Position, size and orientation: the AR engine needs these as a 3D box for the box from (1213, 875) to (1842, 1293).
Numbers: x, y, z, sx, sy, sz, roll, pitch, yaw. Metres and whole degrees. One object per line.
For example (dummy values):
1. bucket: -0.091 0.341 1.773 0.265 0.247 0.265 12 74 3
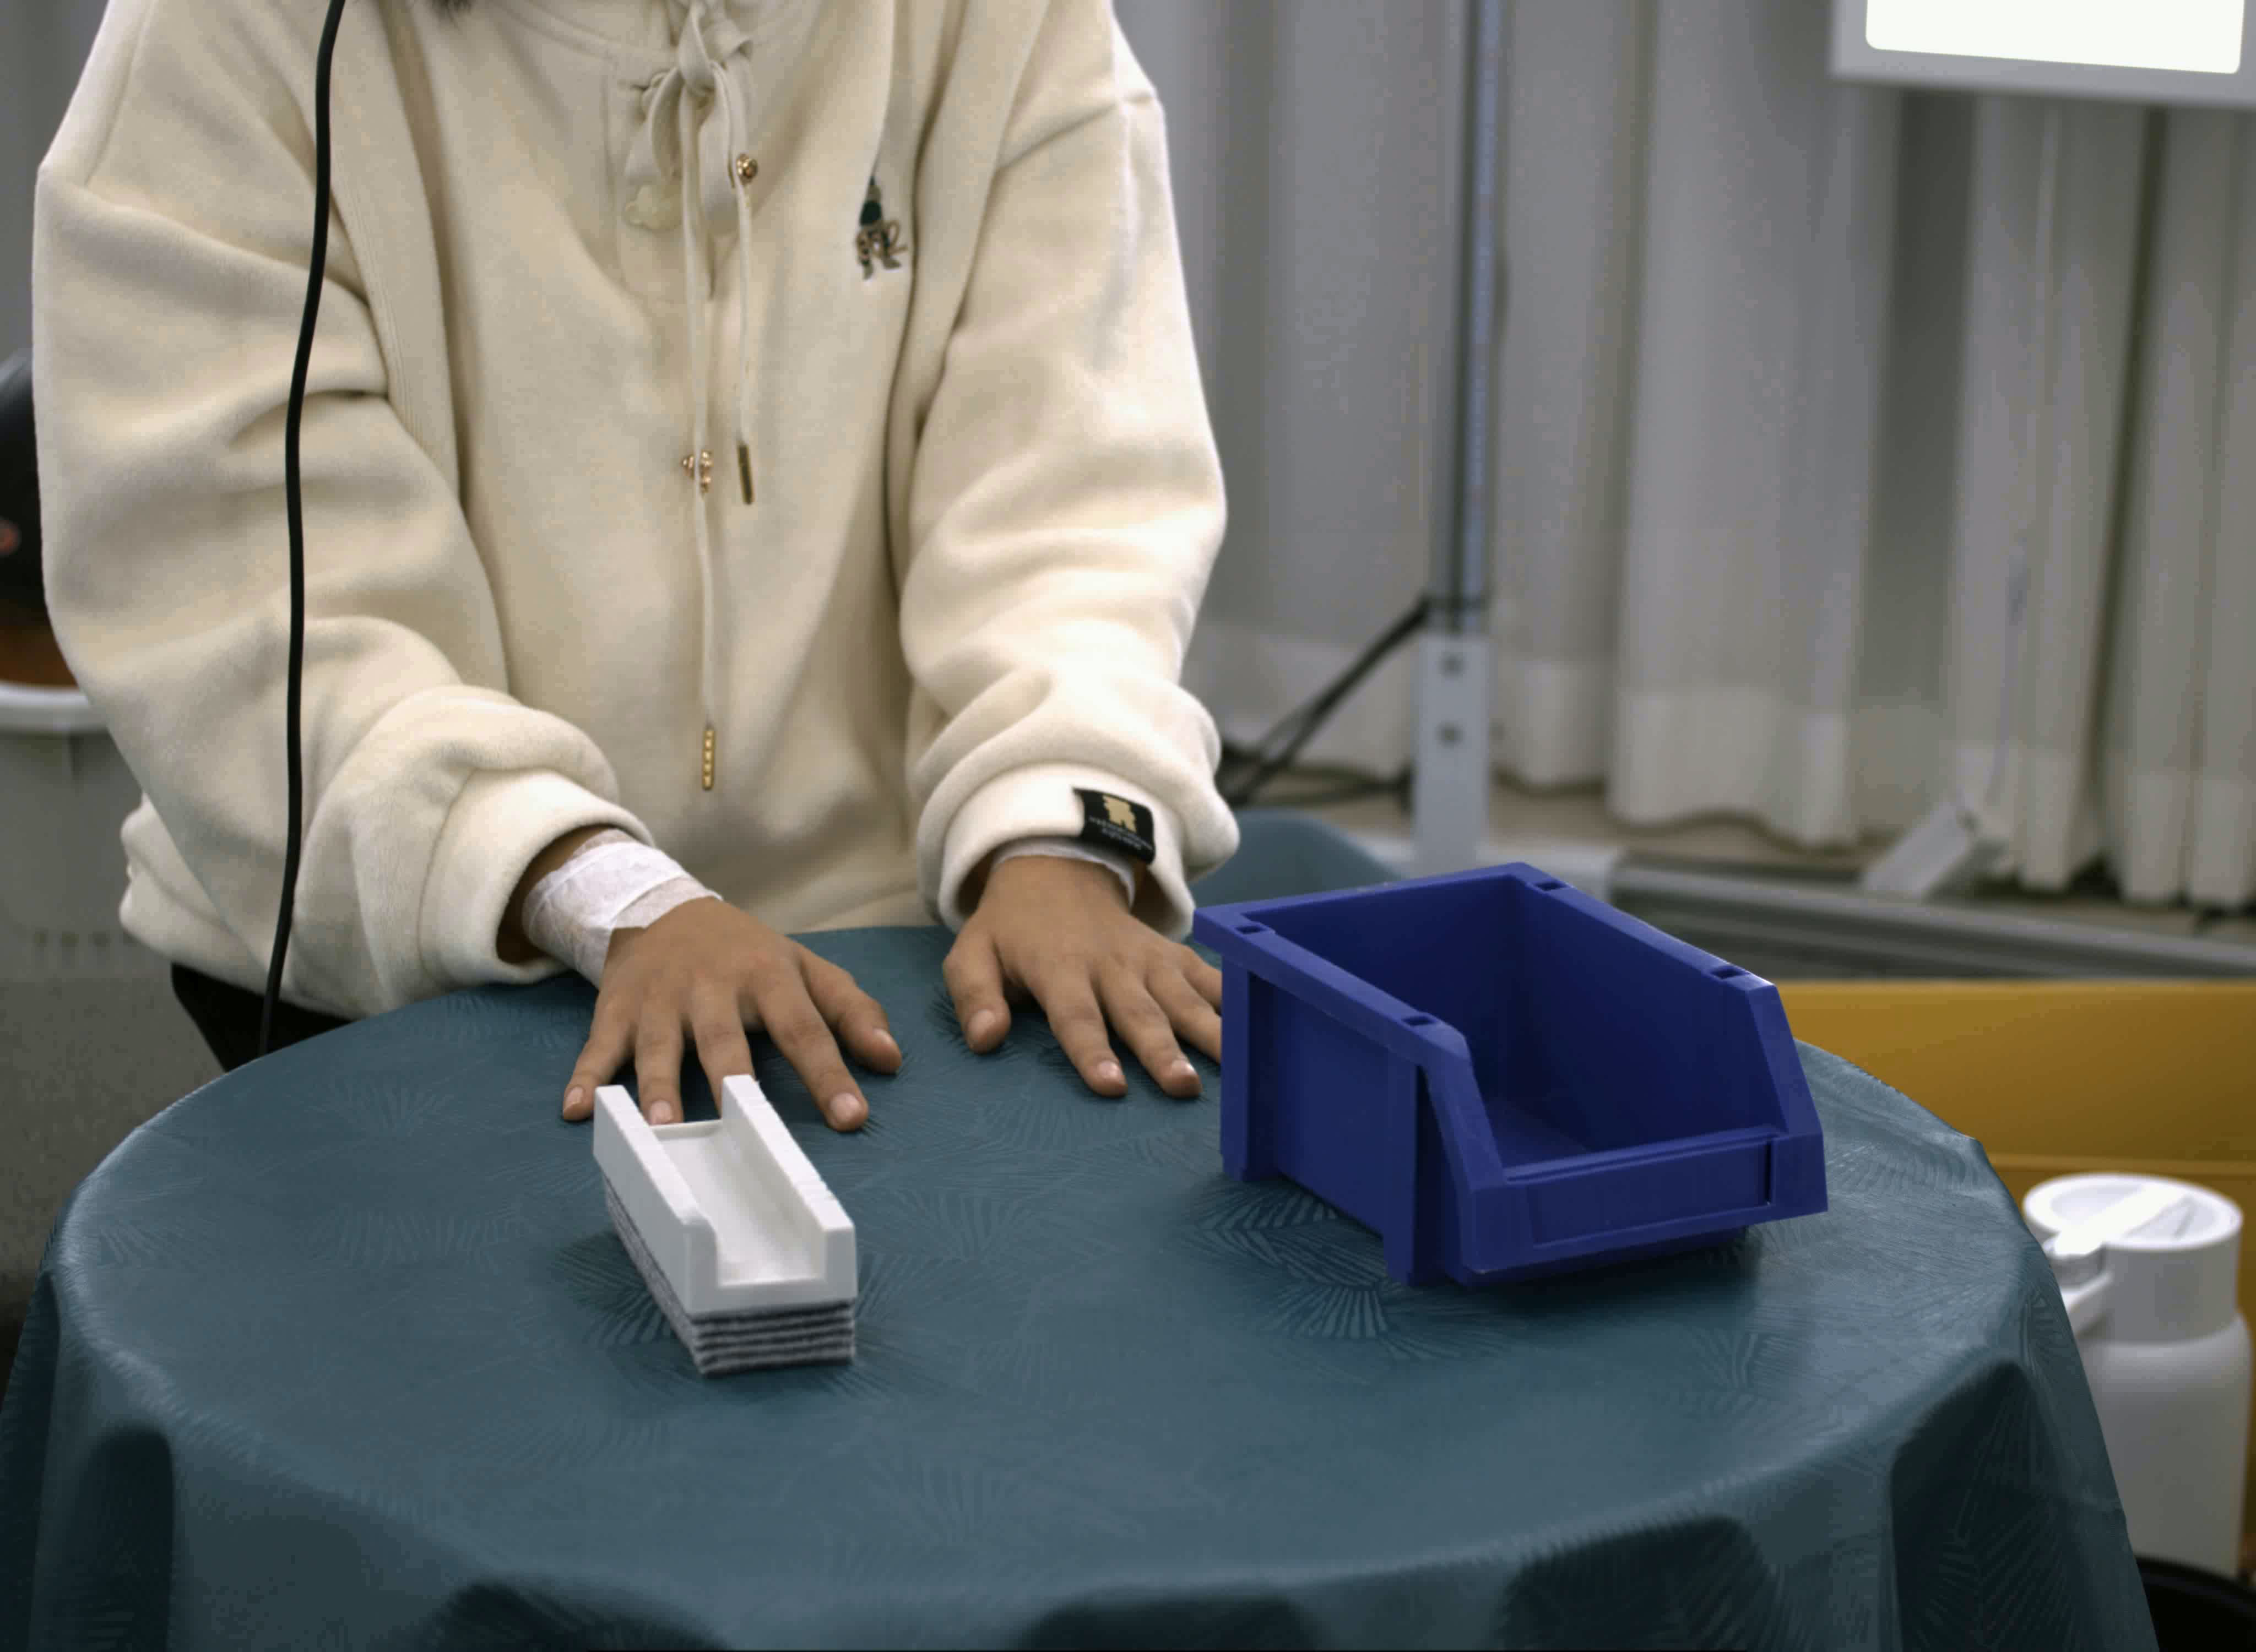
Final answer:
1. box: 0.120 0.079 1.589 0.125 0.082 0.177 -7 15 -24

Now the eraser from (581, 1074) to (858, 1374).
1. eraser: -0.119 0.114 1.523 0.050 0.047 0.133 -7 19 -18
